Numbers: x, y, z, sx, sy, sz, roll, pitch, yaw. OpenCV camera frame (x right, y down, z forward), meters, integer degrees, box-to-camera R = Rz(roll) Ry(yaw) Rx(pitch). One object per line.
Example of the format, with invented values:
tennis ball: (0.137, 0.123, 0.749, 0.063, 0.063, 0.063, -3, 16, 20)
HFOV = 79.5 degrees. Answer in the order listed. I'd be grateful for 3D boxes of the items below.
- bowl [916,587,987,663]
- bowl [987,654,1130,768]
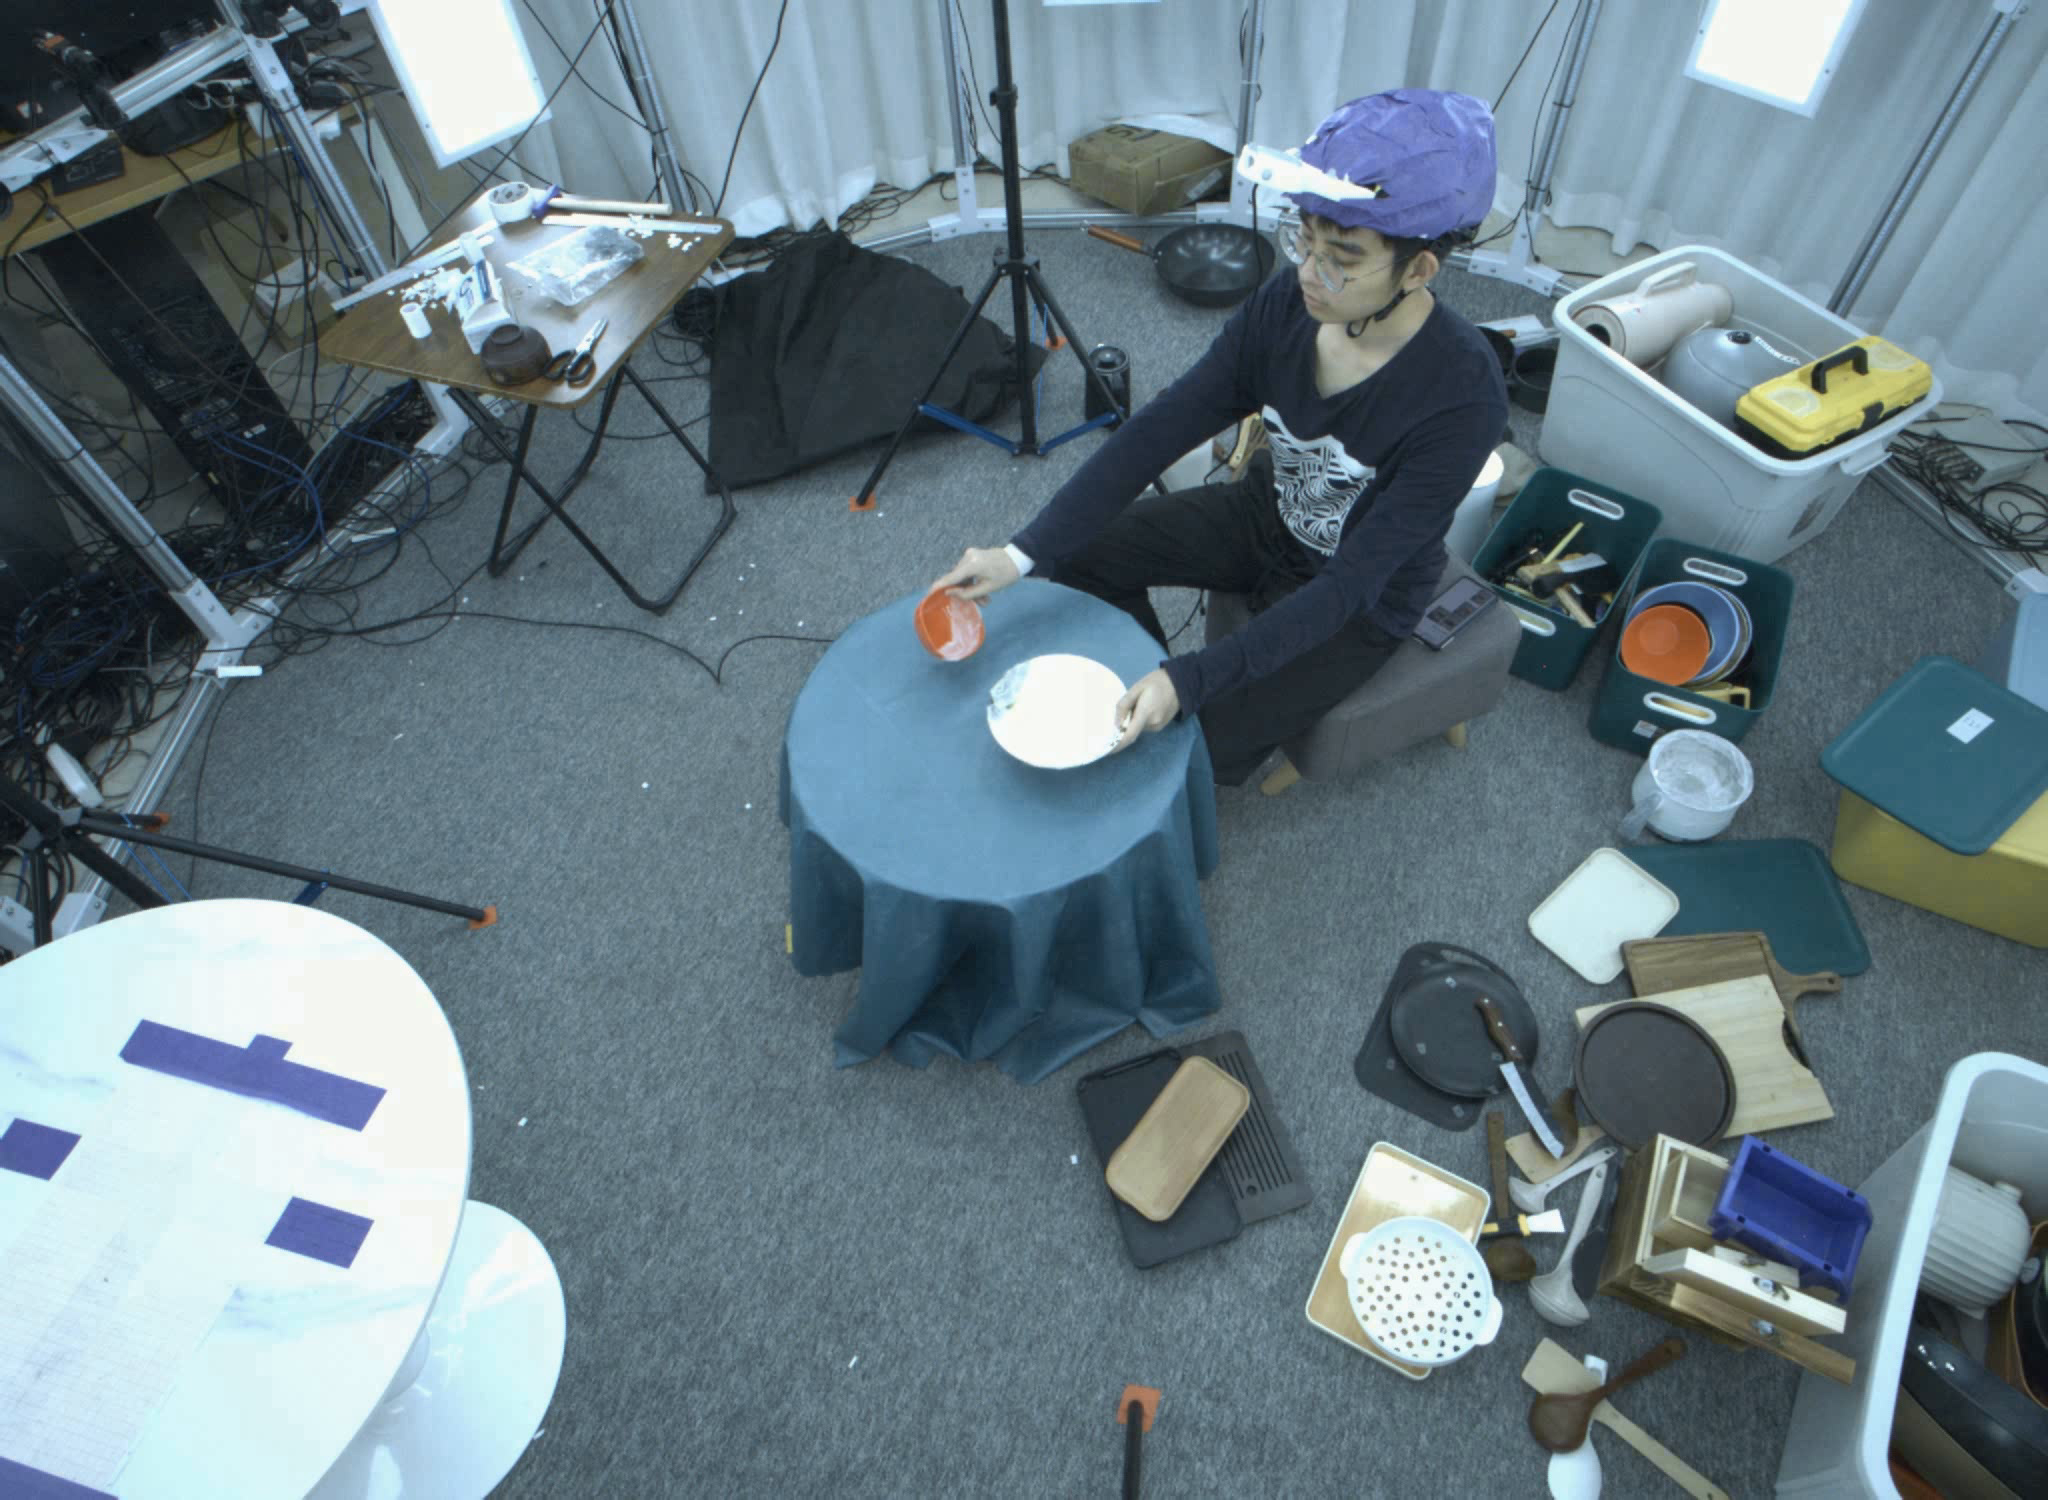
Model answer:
bowl: (-0.117, -0.182, 1.842, 0.121, 0.050, 0.118, 11, 72, -36)
bowl: (0.050, -0.037, 1.774, 0.204, 0.079, 0.202, 0, 55, 1)
